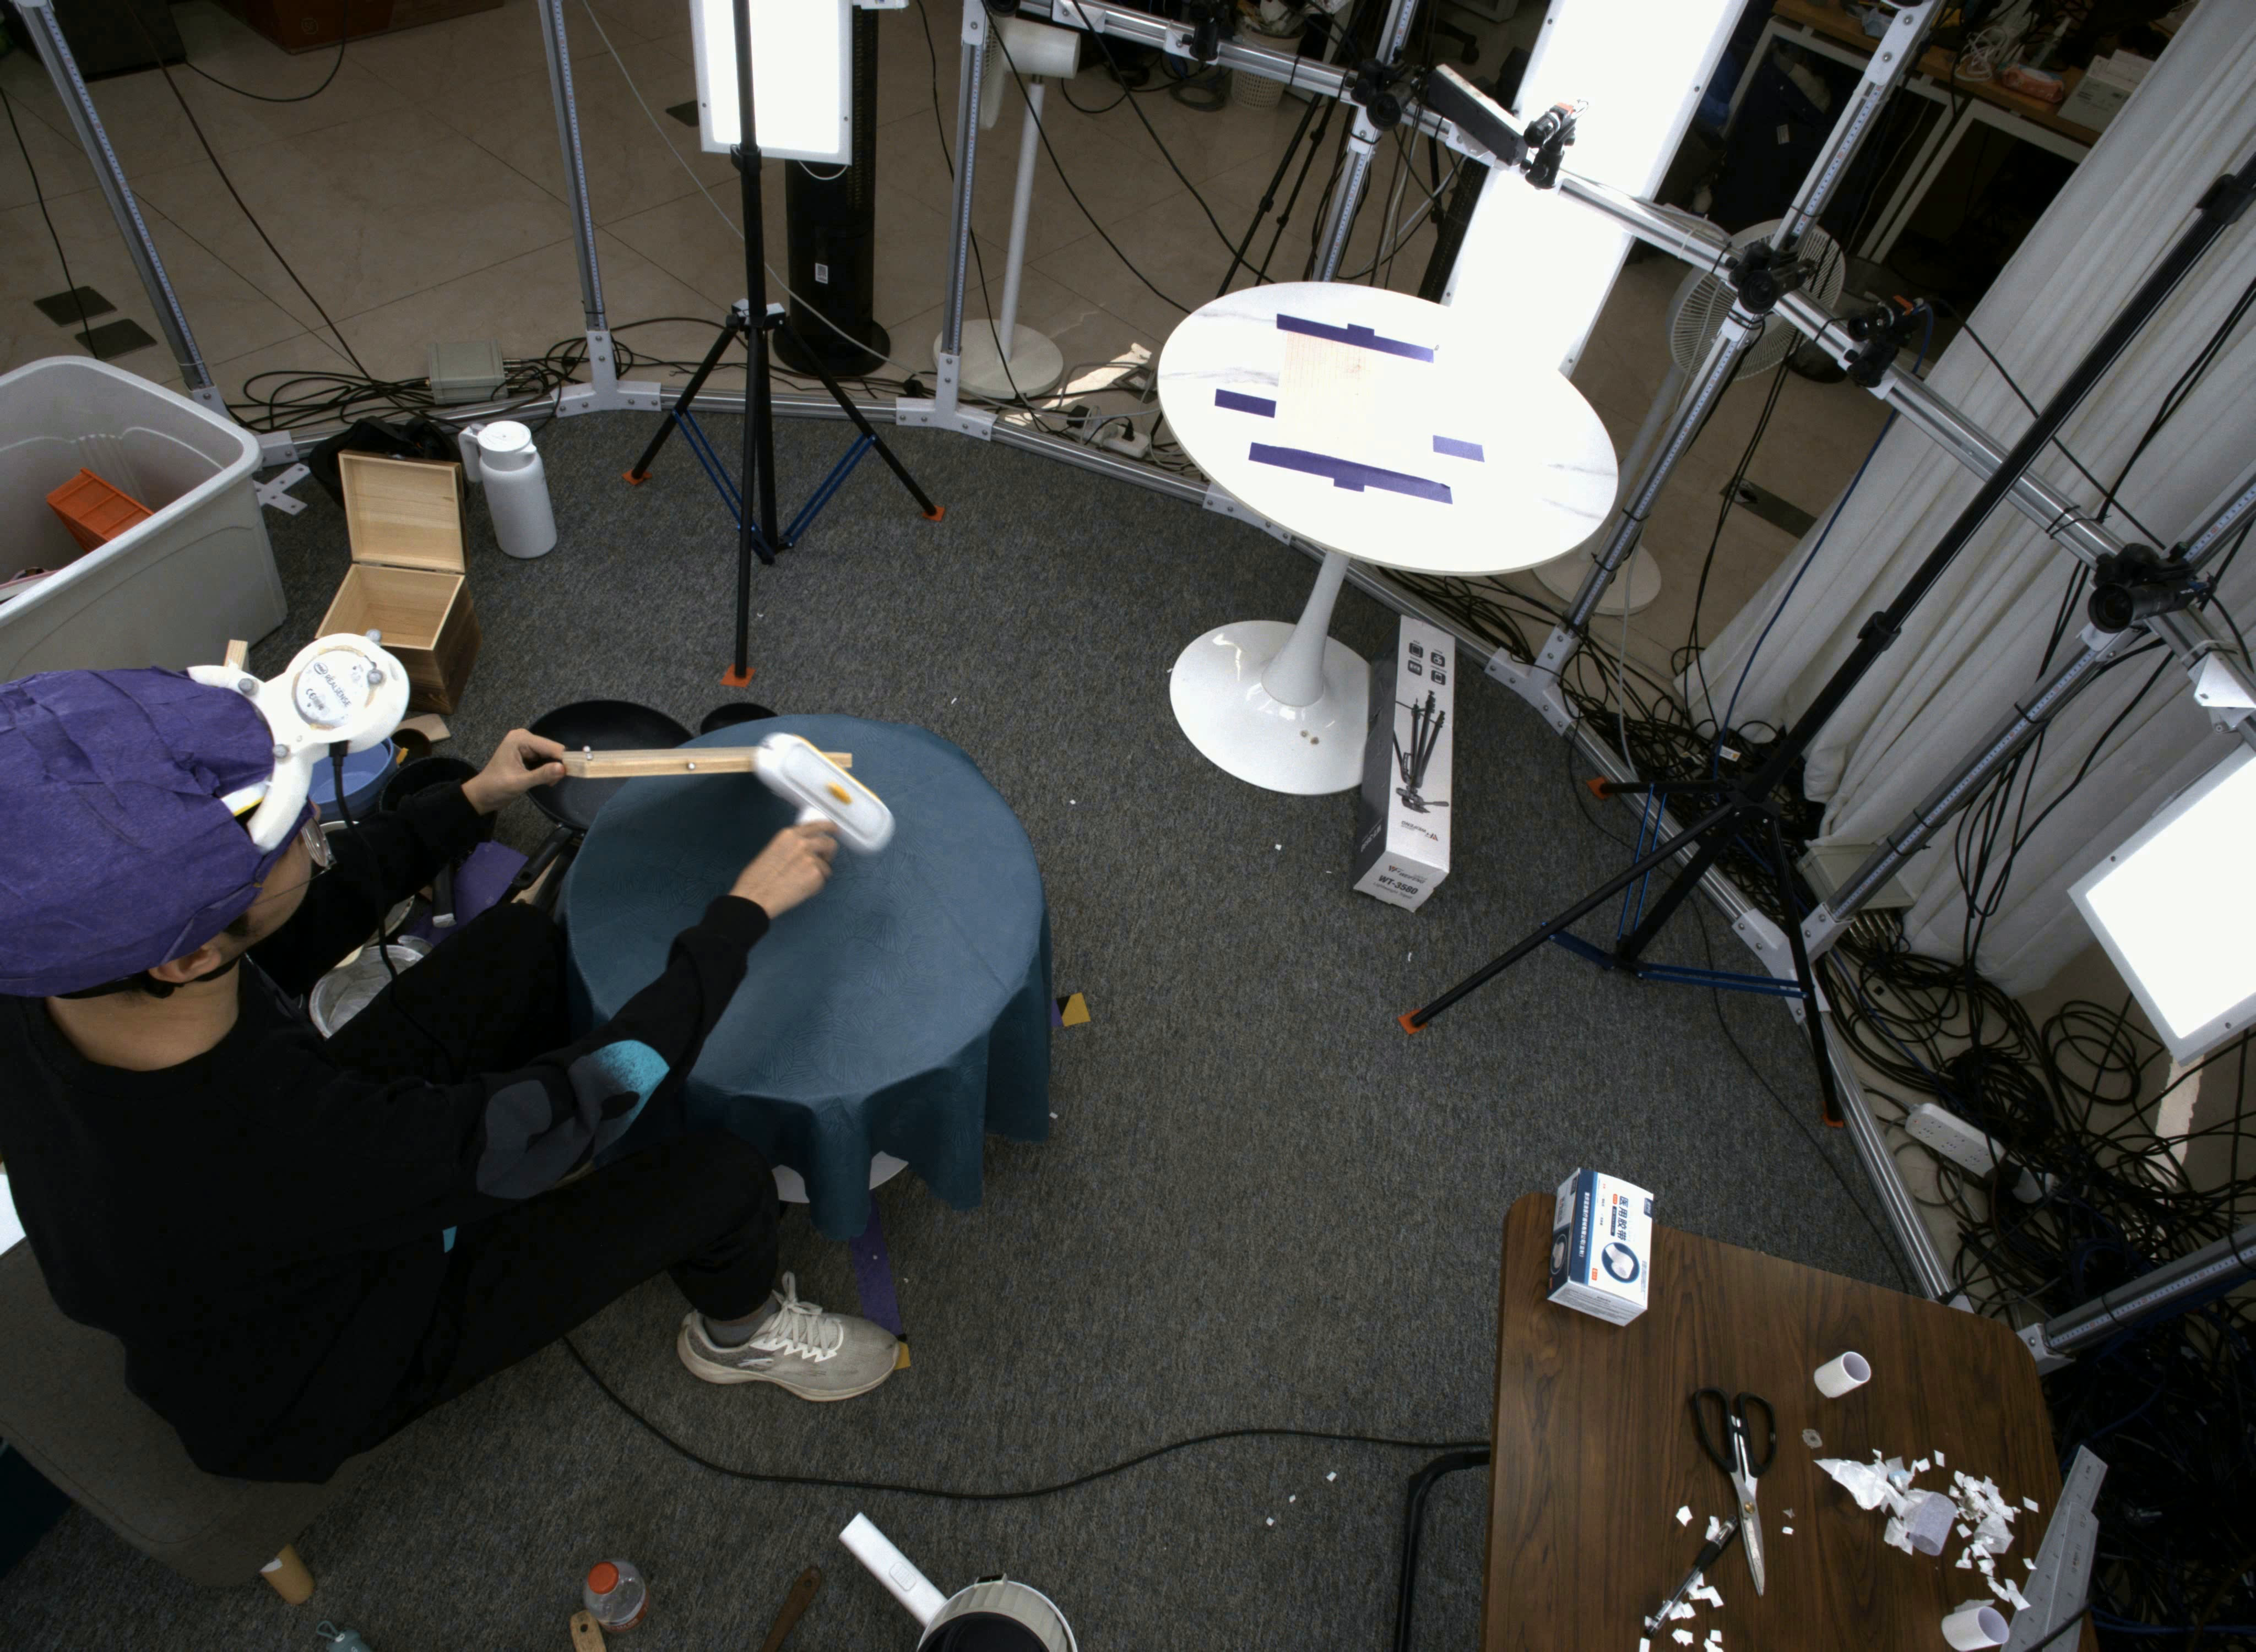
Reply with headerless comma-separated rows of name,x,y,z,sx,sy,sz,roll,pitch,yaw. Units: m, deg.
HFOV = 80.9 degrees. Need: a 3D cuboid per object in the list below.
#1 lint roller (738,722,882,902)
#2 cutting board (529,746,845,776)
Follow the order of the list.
lint roller,-0.382,-0.001,1.520,0.072,0.200,0.191,-6,59,36
cutting board,-0.553,-0.082,1.570,0.355,0.242,0.024,-5,97,-46
